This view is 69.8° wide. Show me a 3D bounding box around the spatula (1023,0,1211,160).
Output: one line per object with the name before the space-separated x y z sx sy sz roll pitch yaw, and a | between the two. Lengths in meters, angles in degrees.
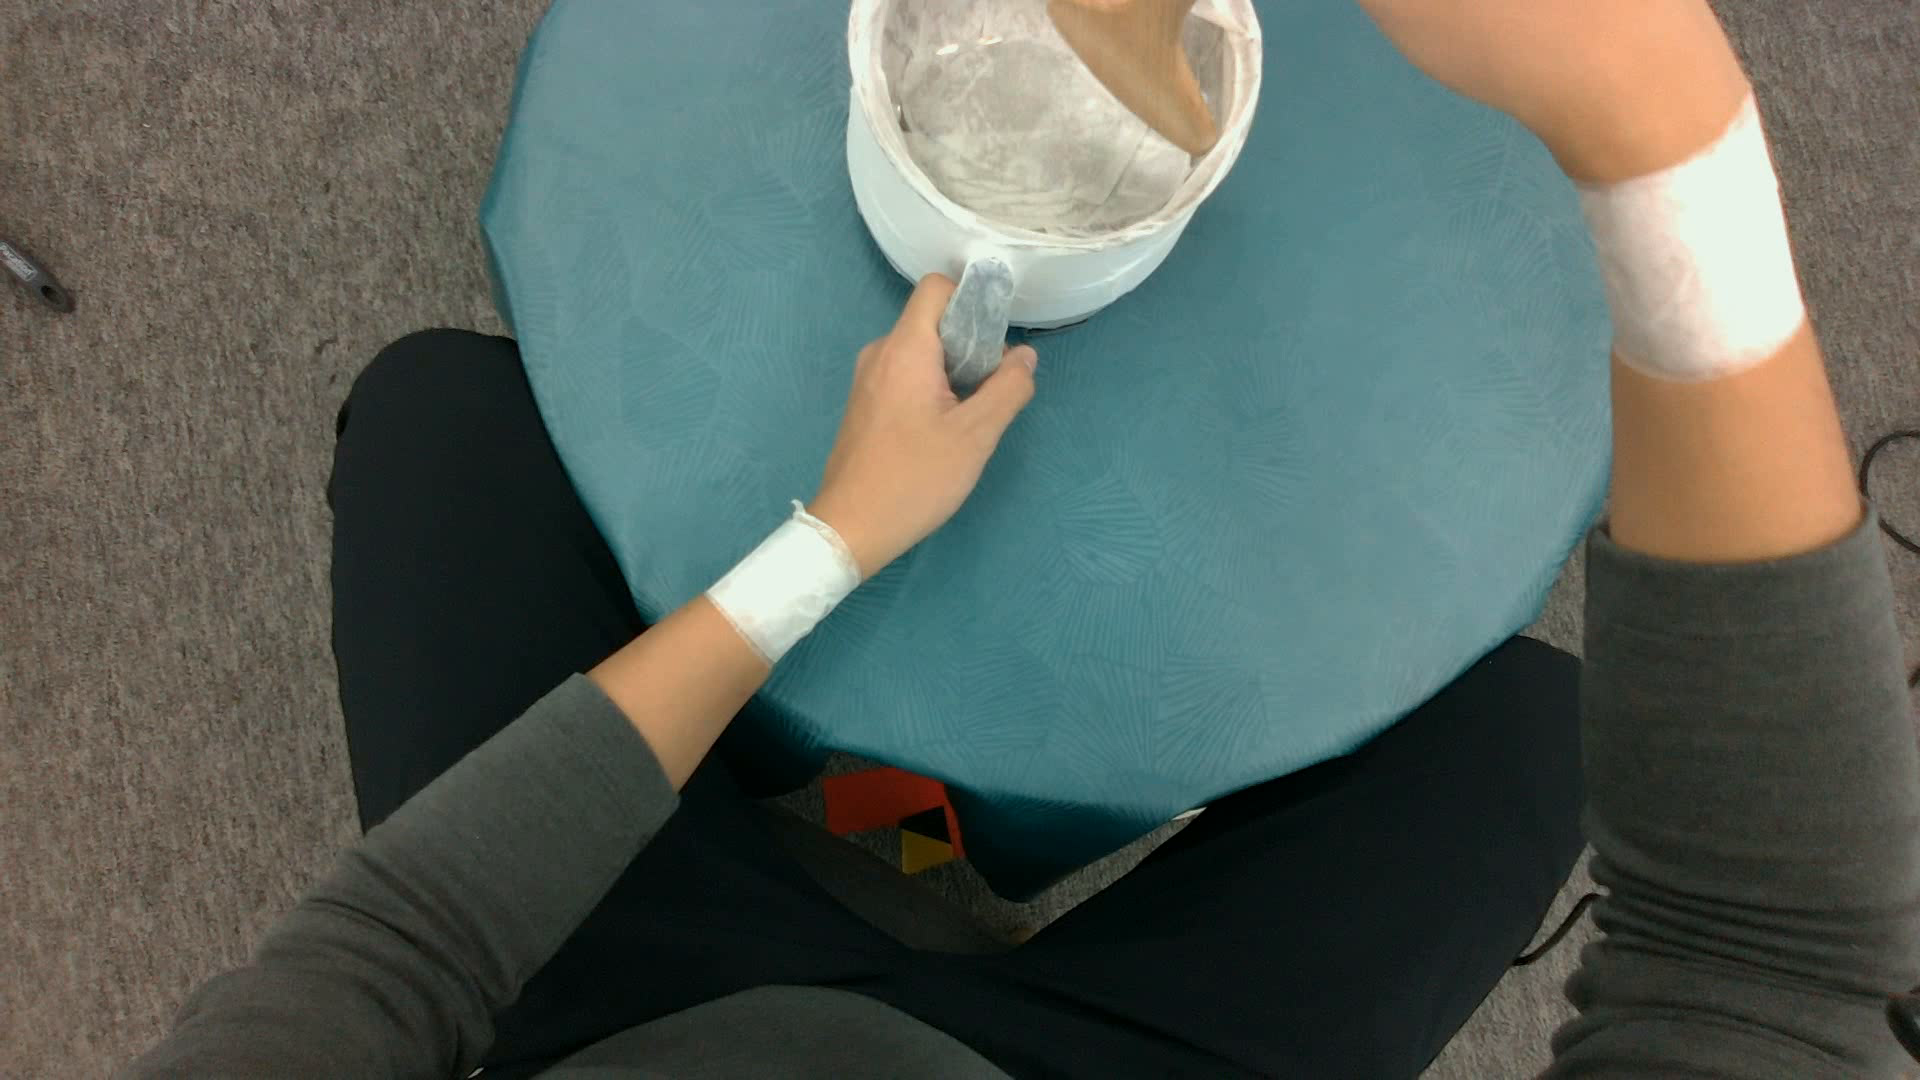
spatula | 0.081 -0.186 0.441 0.096 0.390 0.018 34 89 -6

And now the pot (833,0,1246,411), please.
pot | 0.022 -0.179 0.647 0.179 0.136 0.234 16 81 -4
